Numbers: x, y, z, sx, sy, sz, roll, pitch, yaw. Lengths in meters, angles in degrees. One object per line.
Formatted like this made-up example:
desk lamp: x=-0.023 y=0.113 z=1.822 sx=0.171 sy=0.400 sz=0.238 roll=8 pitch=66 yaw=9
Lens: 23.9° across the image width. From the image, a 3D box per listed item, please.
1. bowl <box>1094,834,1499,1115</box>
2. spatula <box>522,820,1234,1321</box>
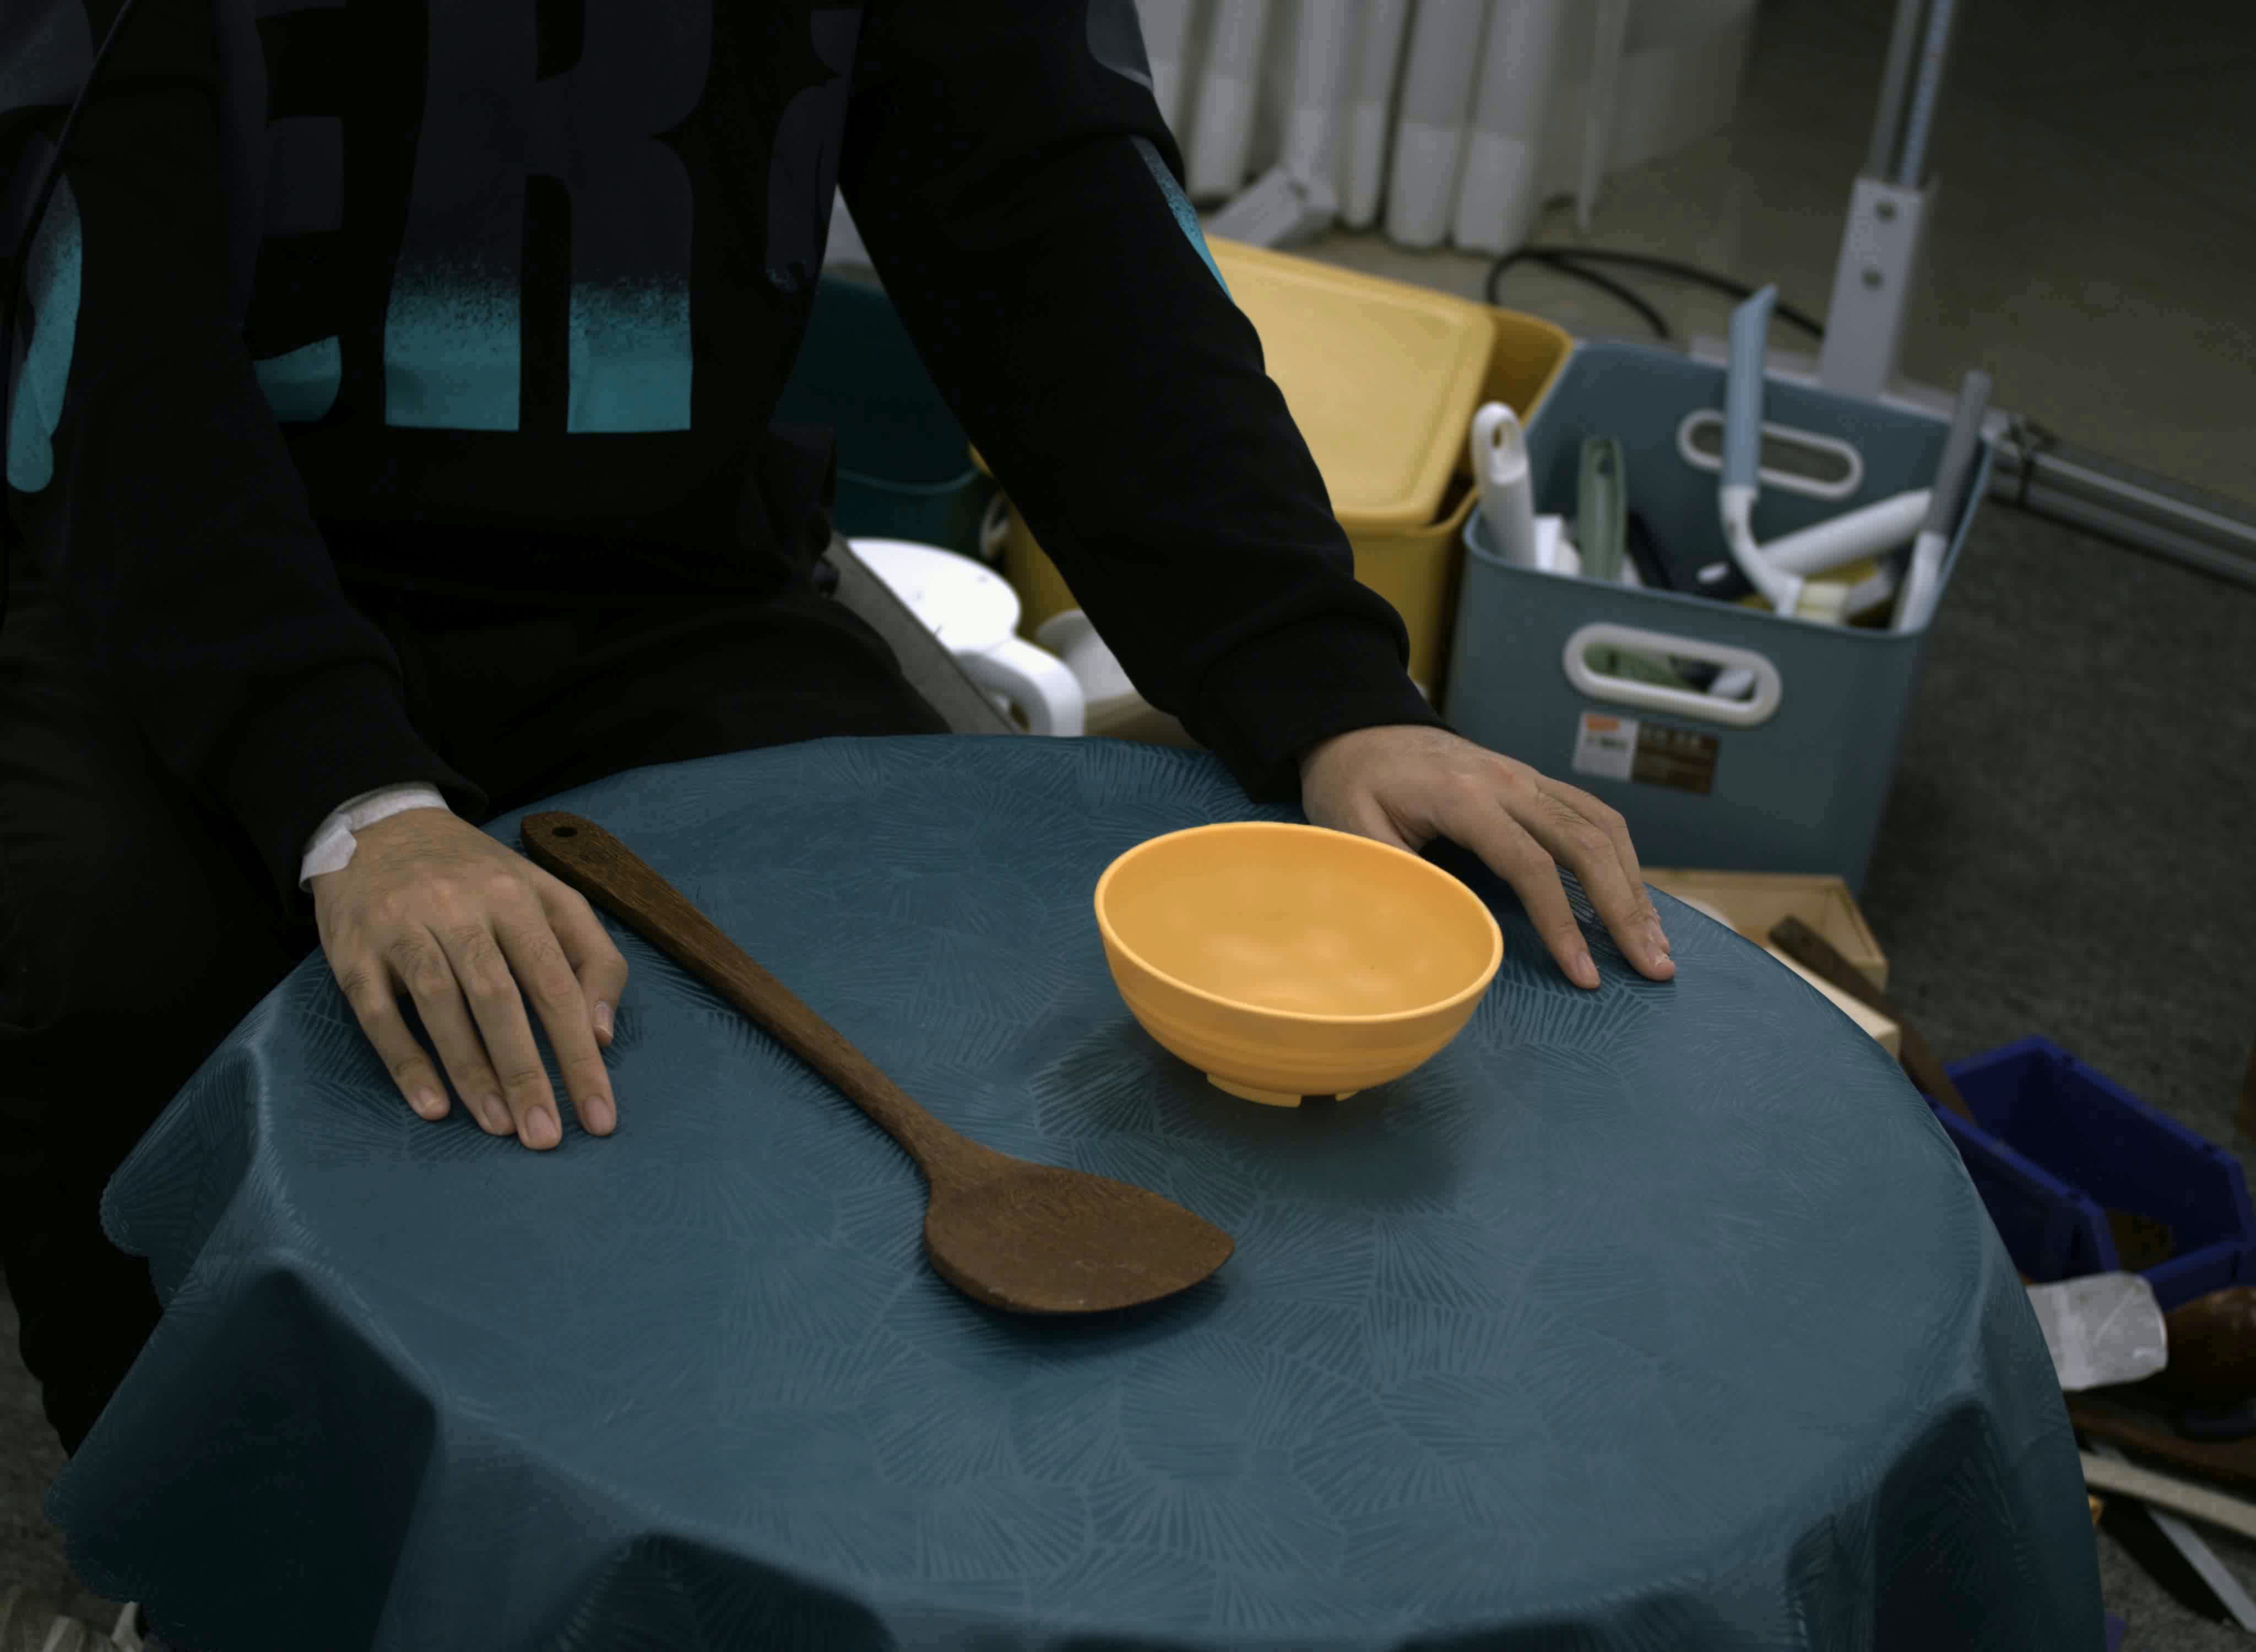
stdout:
bowl: x=0.055 y=0.060 z=1.878 sx=0.145 sy=0.060 sz=0.146 roll=7 pitch=24 yaw=-3
spatula: x=-0.107 y=0.077 z=1.854 sx=0.095 sy=0.016 sz=0.389 roll=-13 pitch=32 yaw=-35
